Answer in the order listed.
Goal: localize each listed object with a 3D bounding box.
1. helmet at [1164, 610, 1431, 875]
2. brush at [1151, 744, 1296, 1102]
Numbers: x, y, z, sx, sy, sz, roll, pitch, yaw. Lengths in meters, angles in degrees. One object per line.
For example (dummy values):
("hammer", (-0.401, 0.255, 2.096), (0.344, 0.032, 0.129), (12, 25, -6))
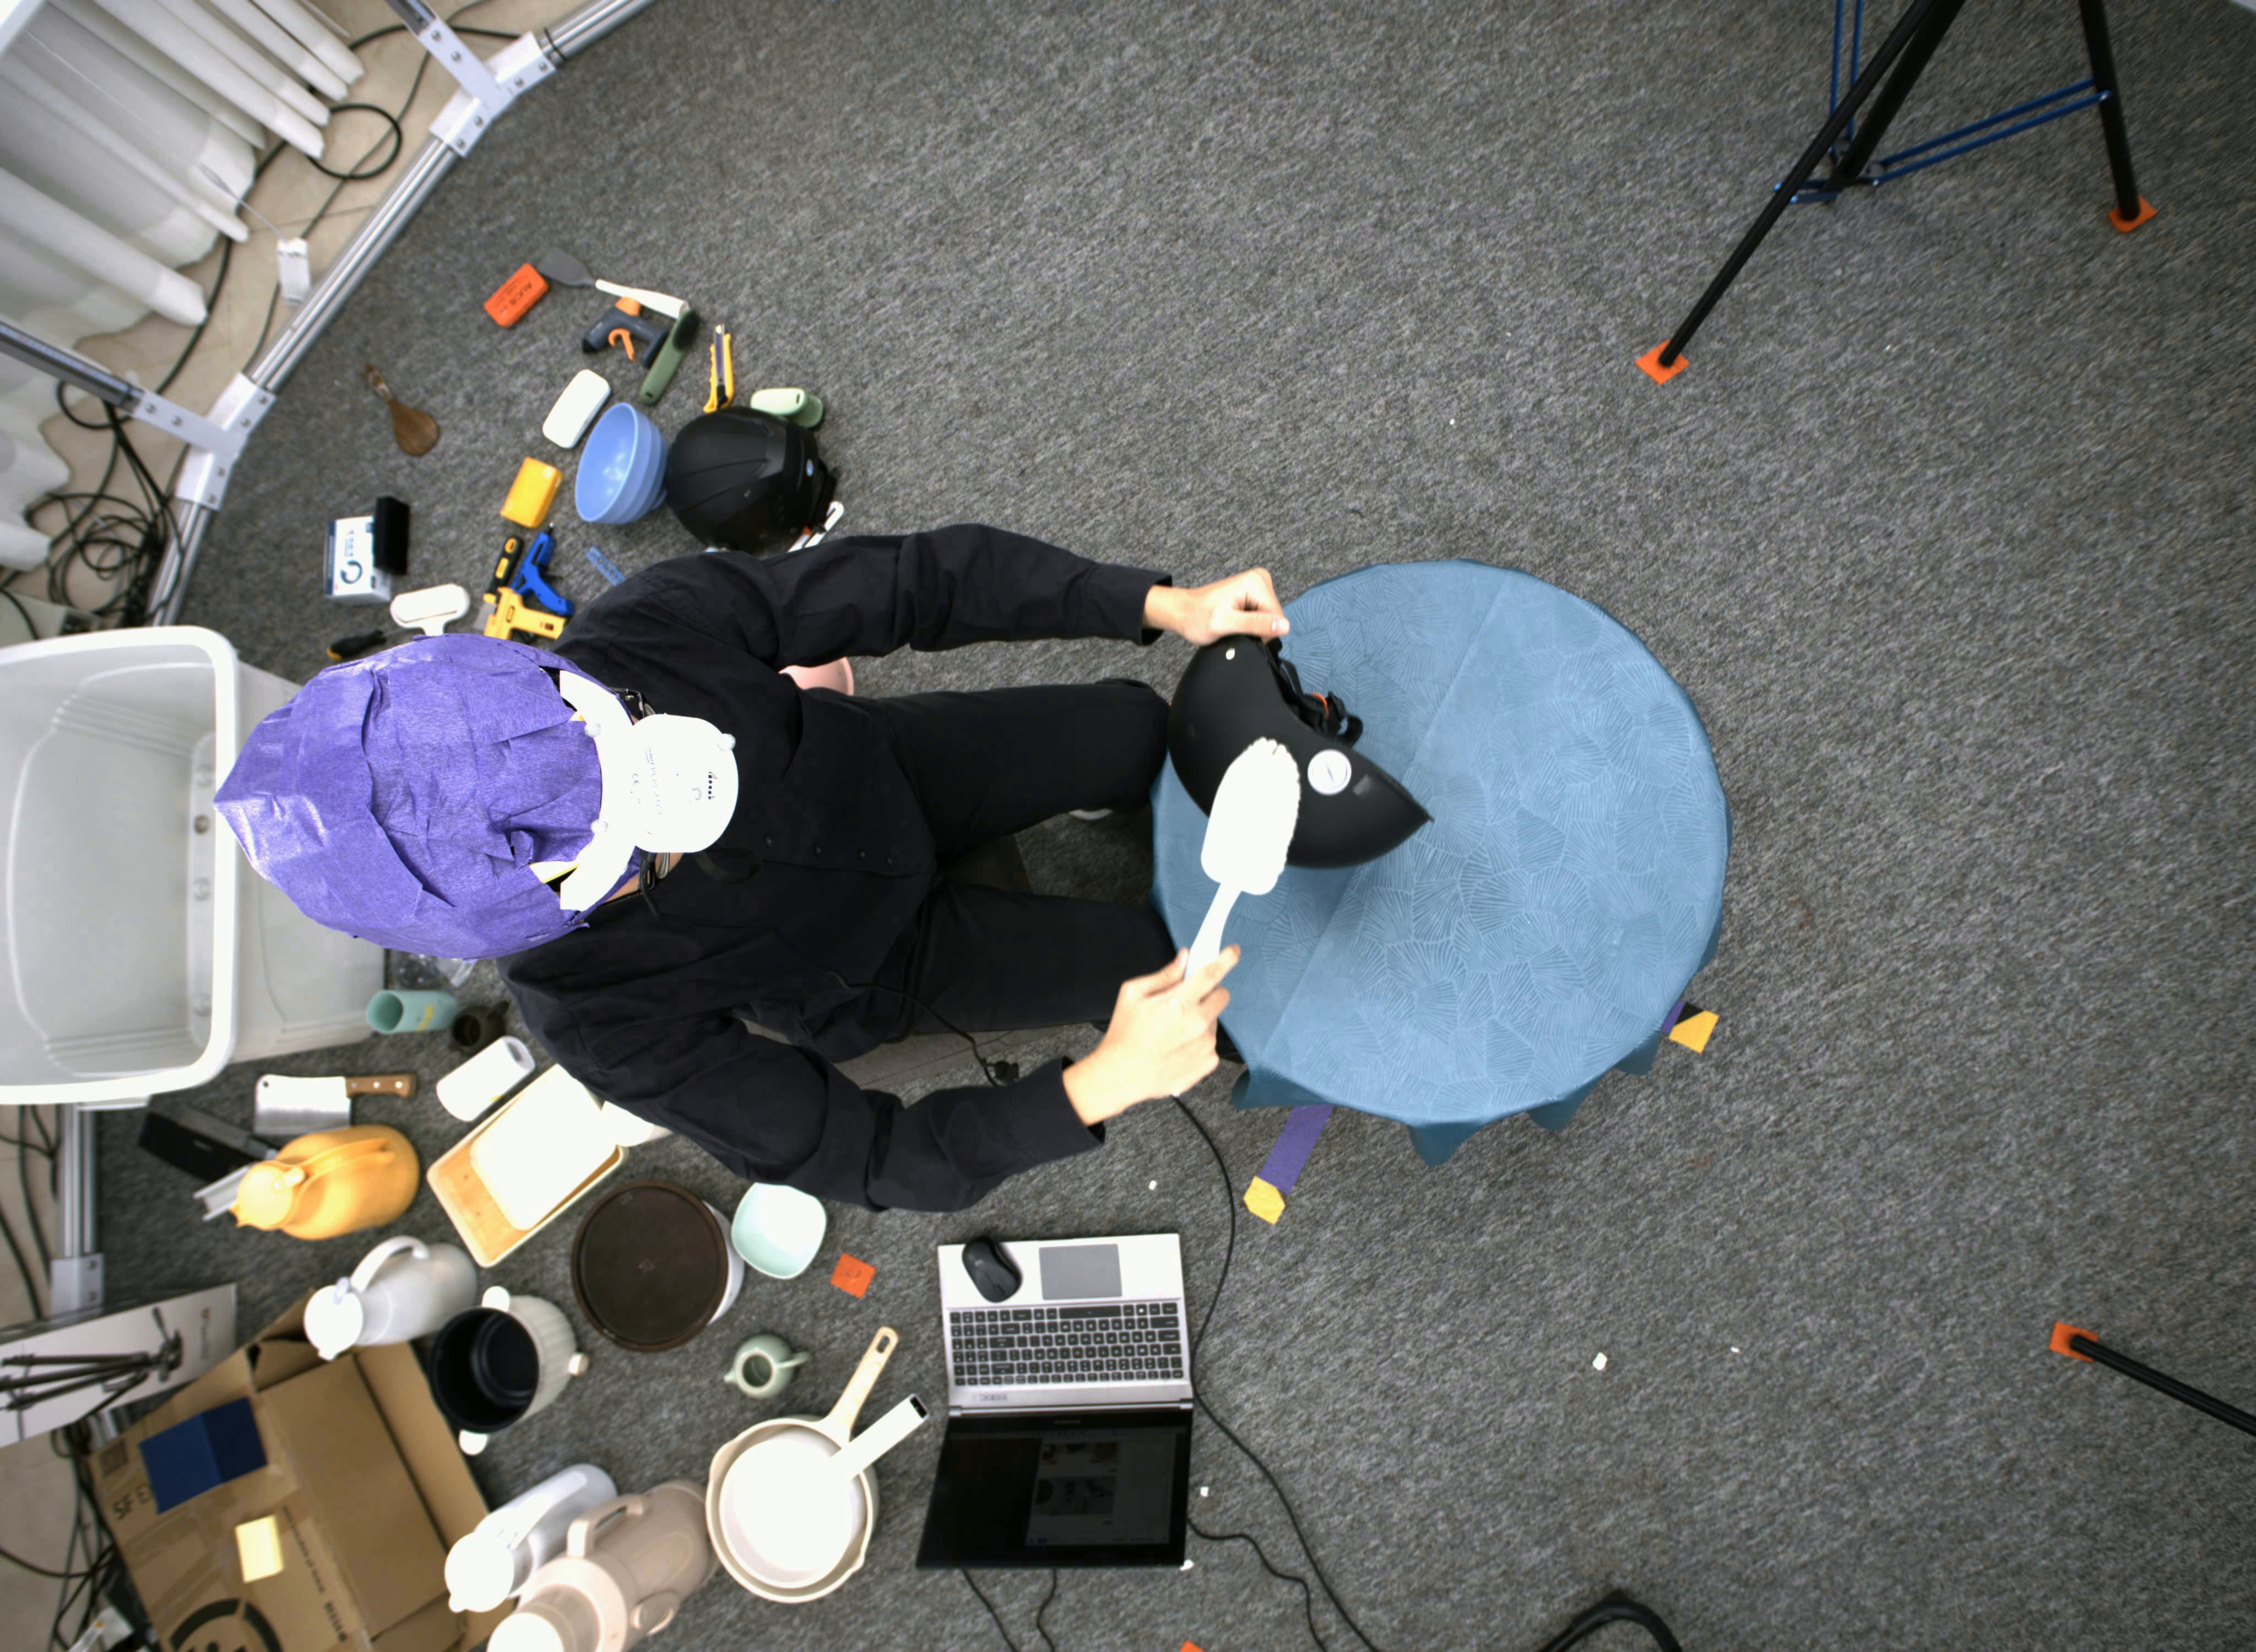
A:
("helmet", (0.138, -0.055, 1.287), (0.168, 0.228, 0.273), (-42, 89, 12))
("brush", (0.078, 0.084, 1.209), (0.084, 0.082, 0.330), (4, 109, -32))
